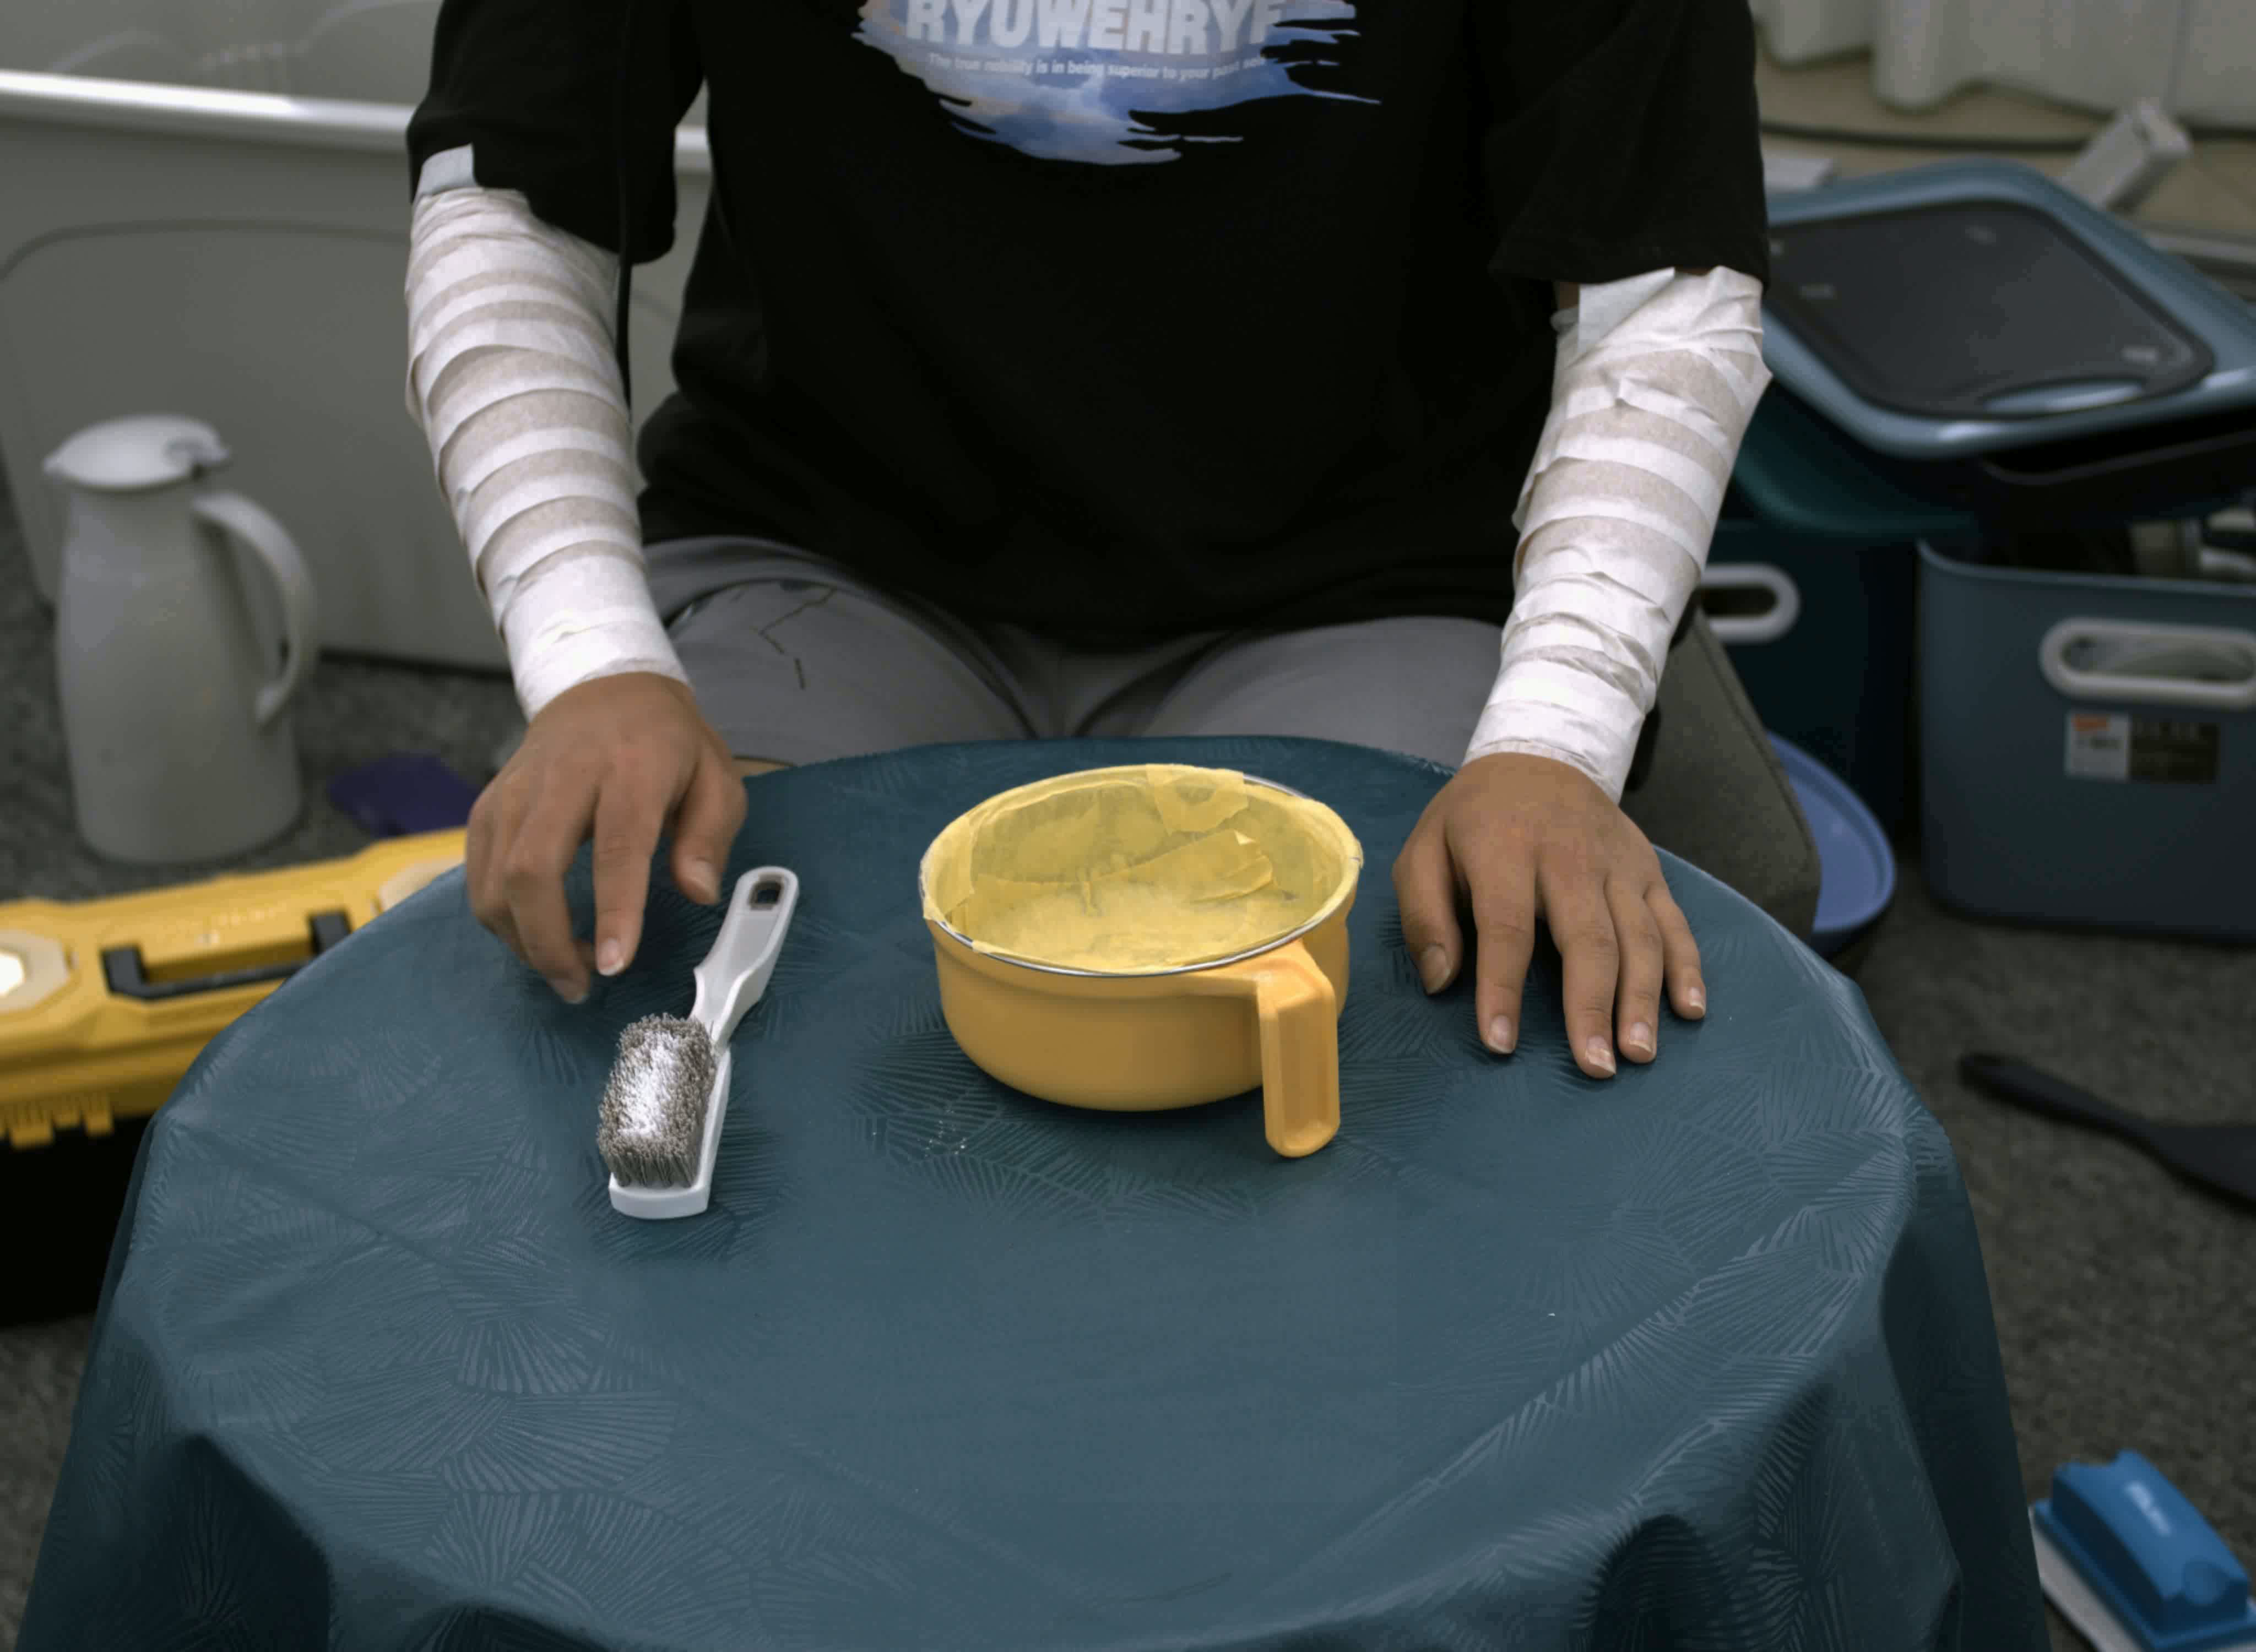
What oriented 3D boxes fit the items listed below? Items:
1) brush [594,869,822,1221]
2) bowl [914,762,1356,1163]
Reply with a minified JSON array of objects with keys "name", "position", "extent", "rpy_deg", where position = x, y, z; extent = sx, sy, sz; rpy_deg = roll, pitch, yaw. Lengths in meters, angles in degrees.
[{"name":"brush","position":[-0.142,0.058,1.946],"extent":[0.034,0.050,0.248],"rpy_deg":[0,27,10]},{"name":"bowl","position":[0.011,0.048,1.931],"extent":[0.154,0.073,0.179],"rpy_deg":[-19,30,-30]}]
